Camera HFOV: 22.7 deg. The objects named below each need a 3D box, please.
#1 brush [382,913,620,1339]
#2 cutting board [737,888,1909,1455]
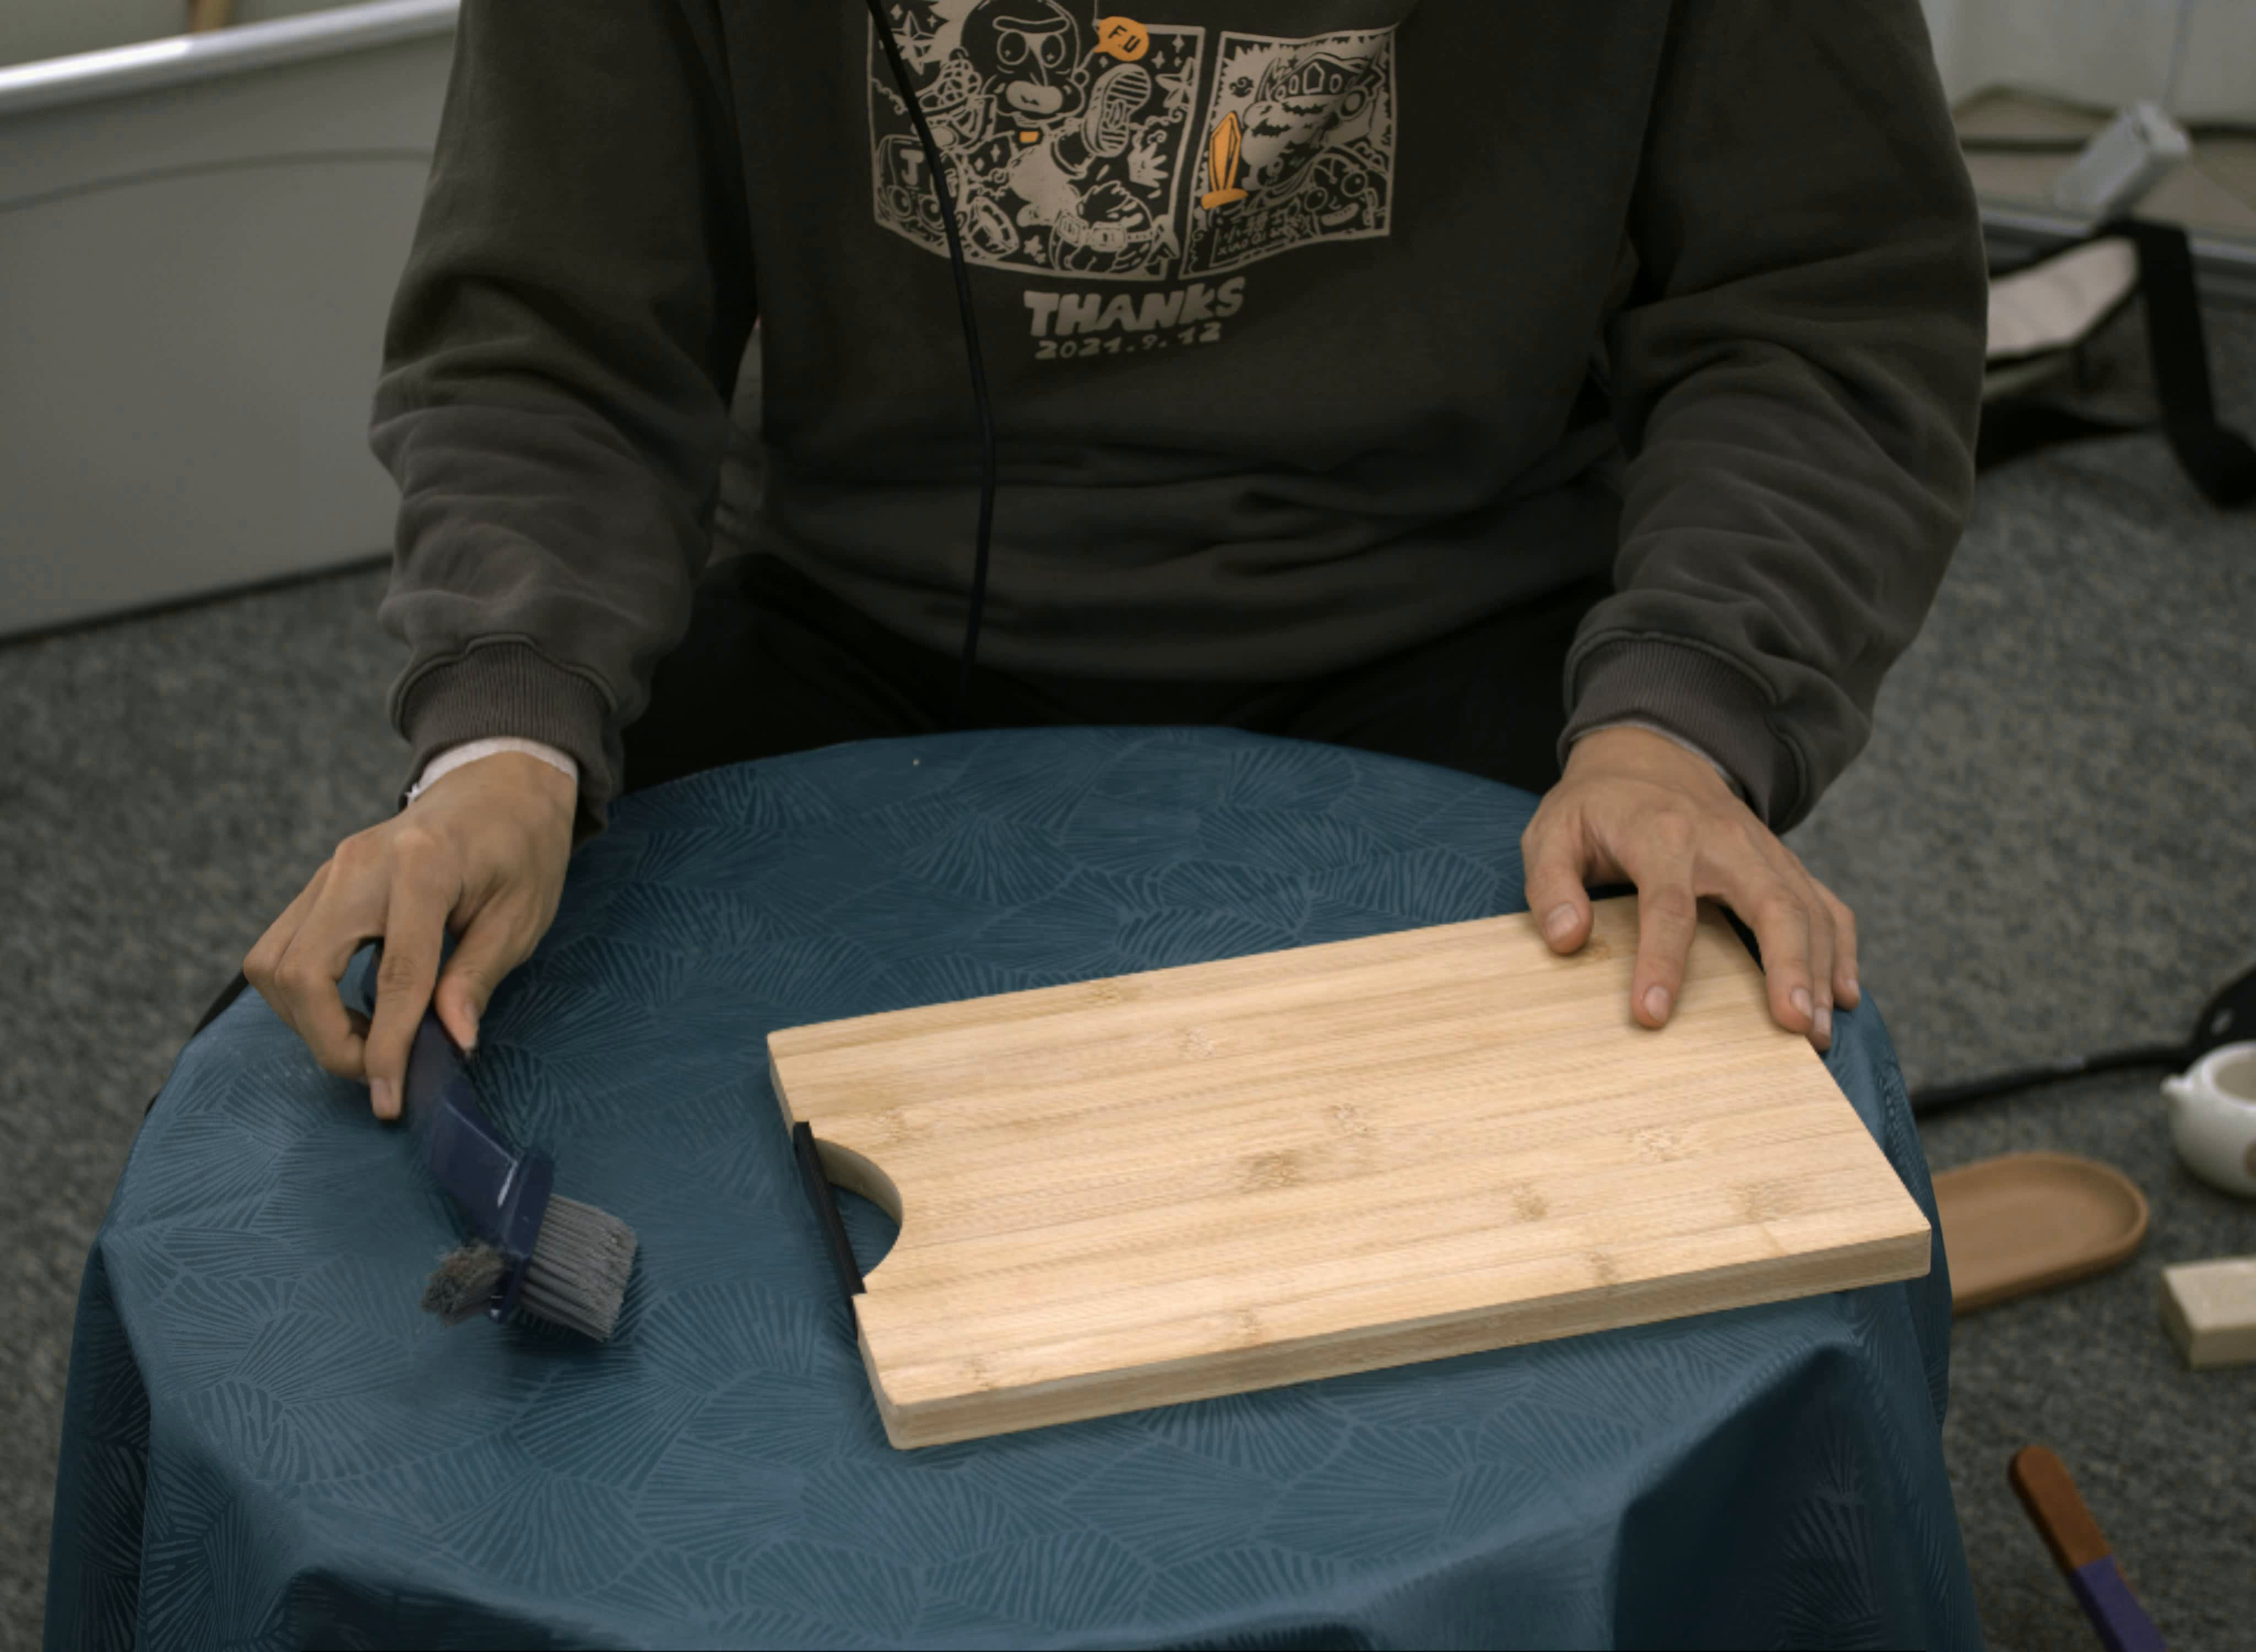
[{"bbox_3d":[-0.233,0.097,1.878,0.095,0.033,0.275,13,19,-28],"label":"brush"},{"bbox_3d":[0.060,0.109,1.861,0.348,0.023,0.253,-9,28,-11],"label":"cutting board"}]
